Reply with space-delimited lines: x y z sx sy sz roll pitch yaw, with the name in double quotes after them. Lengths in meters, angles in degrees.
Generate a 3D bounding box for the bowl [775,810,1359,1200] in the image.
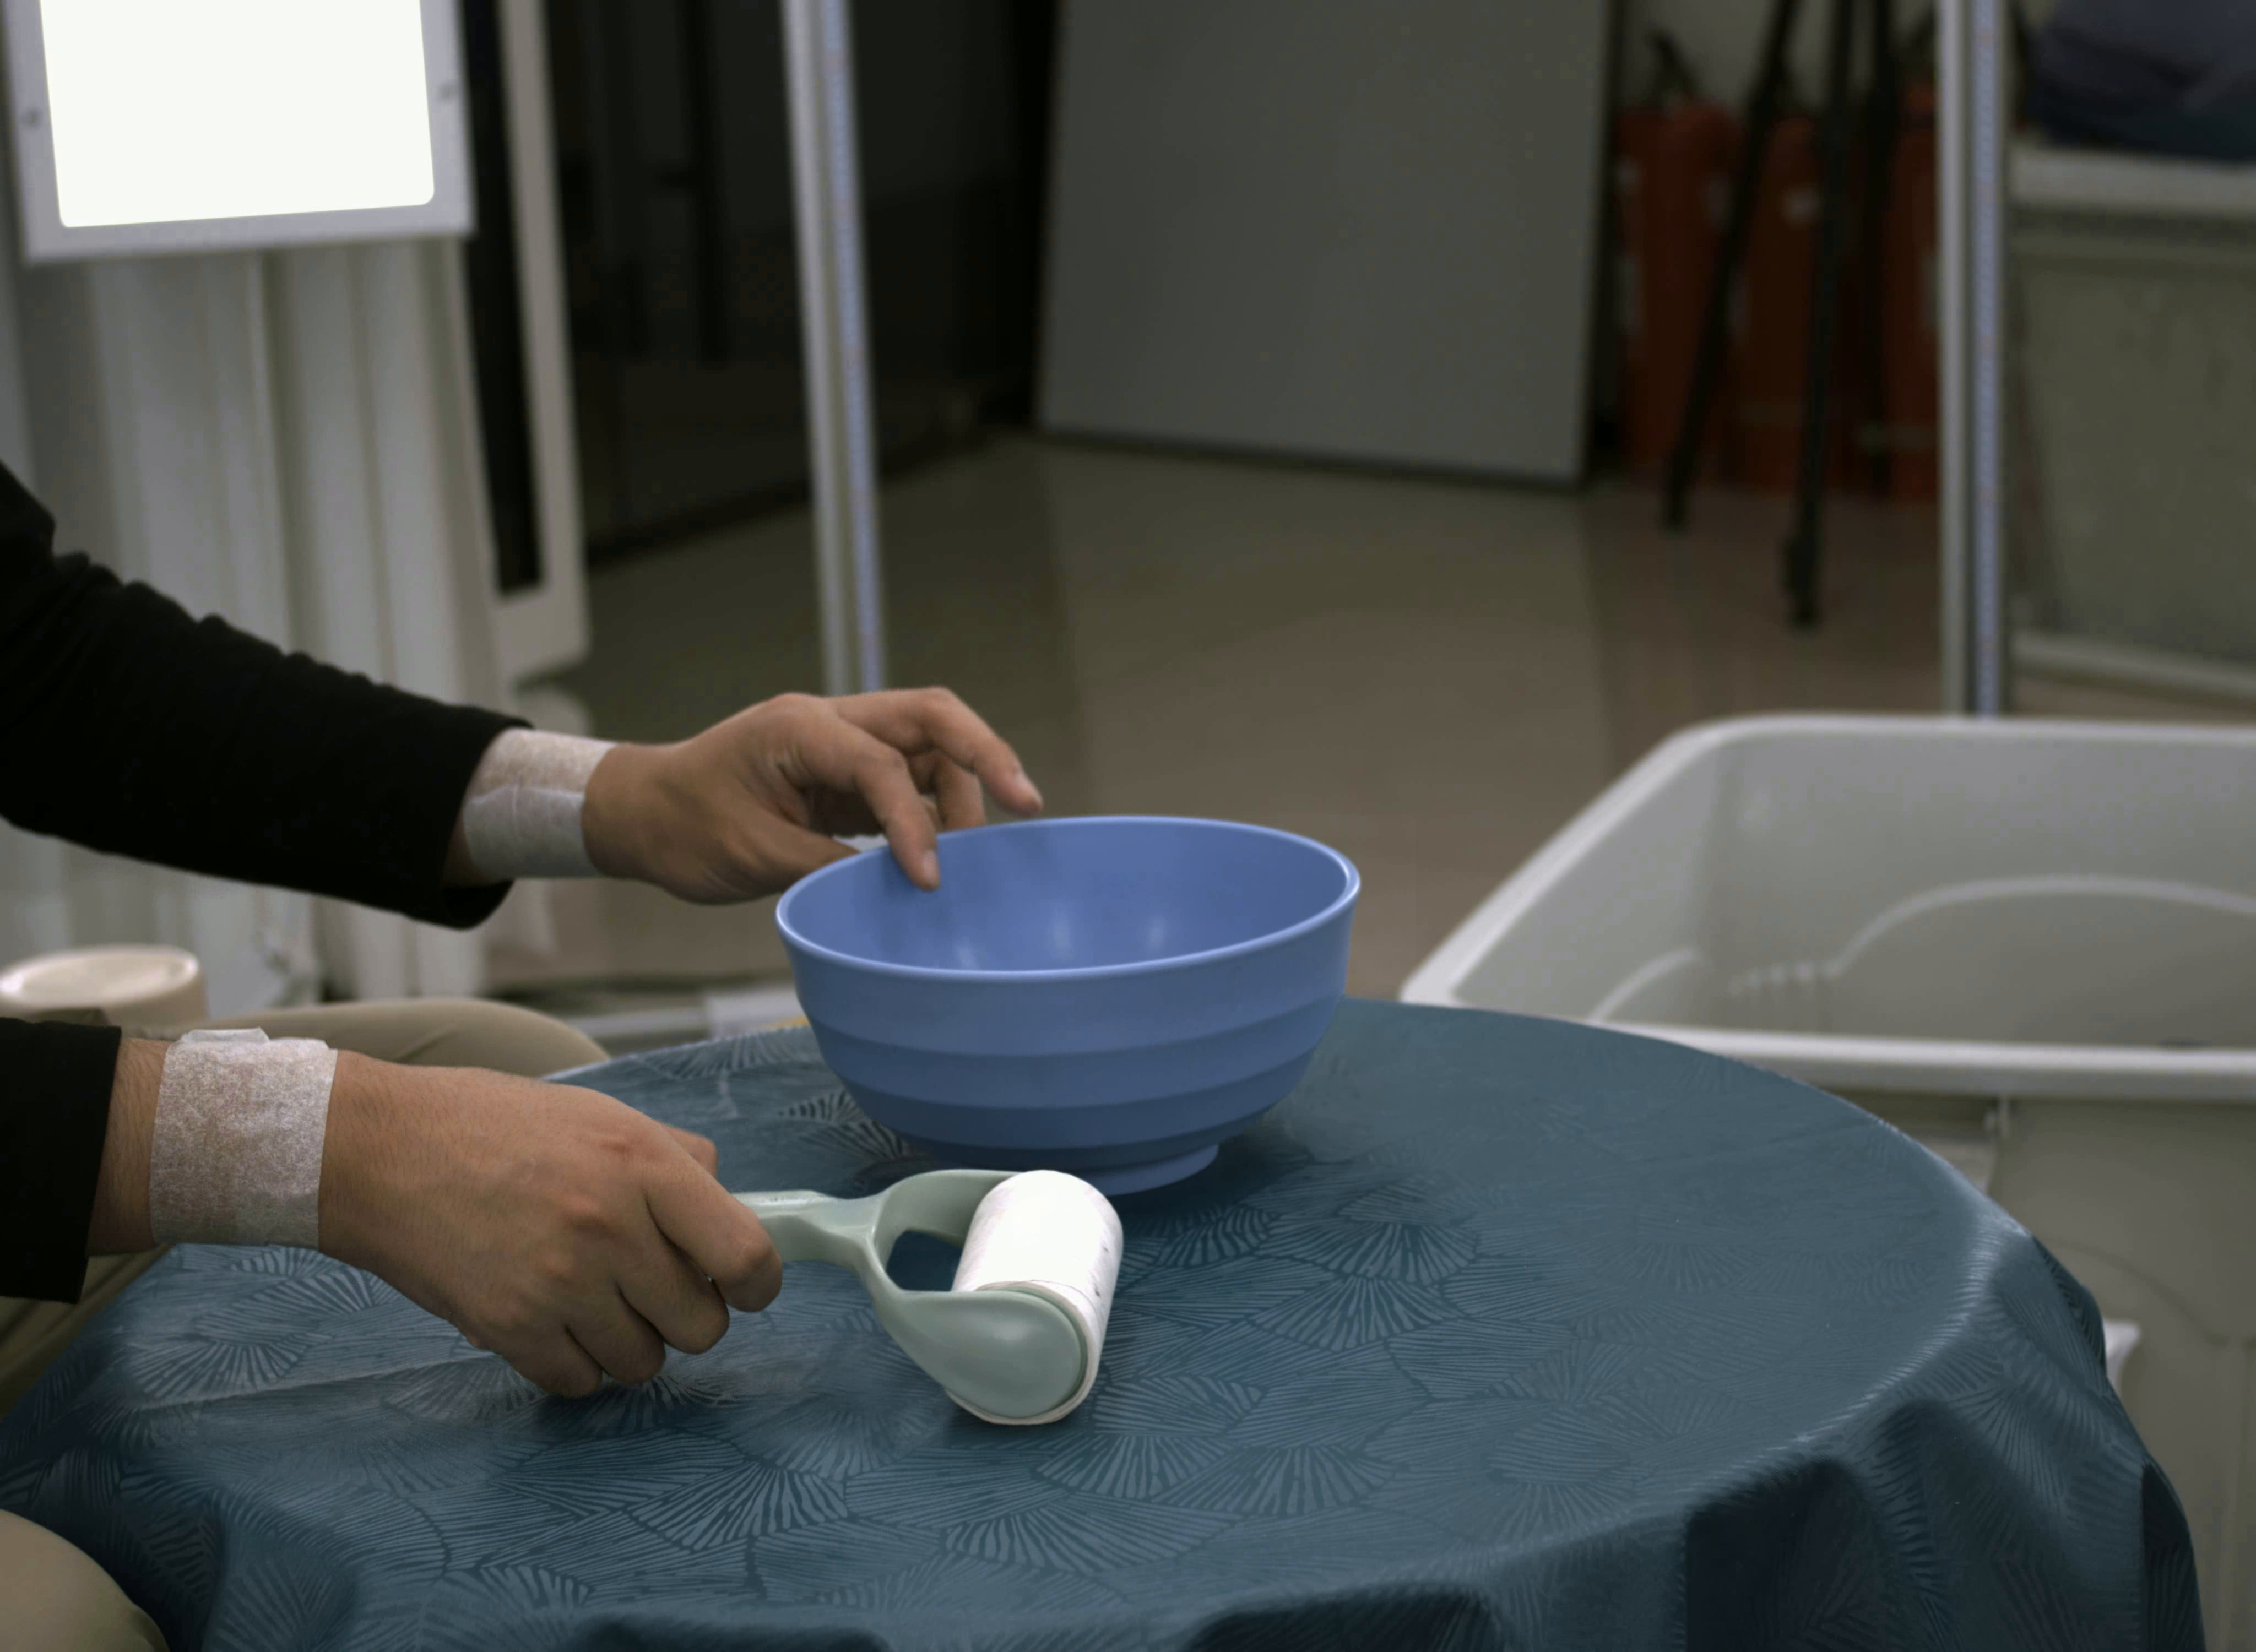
-0.017 0.066 1.798 0.194 0.096 0.197 -4 15 0 "bowl"

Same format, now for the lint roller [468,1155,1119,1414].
-0.100 0.133 1.617 0.195 0.049 0.116 3 16 4 "lint roller"
